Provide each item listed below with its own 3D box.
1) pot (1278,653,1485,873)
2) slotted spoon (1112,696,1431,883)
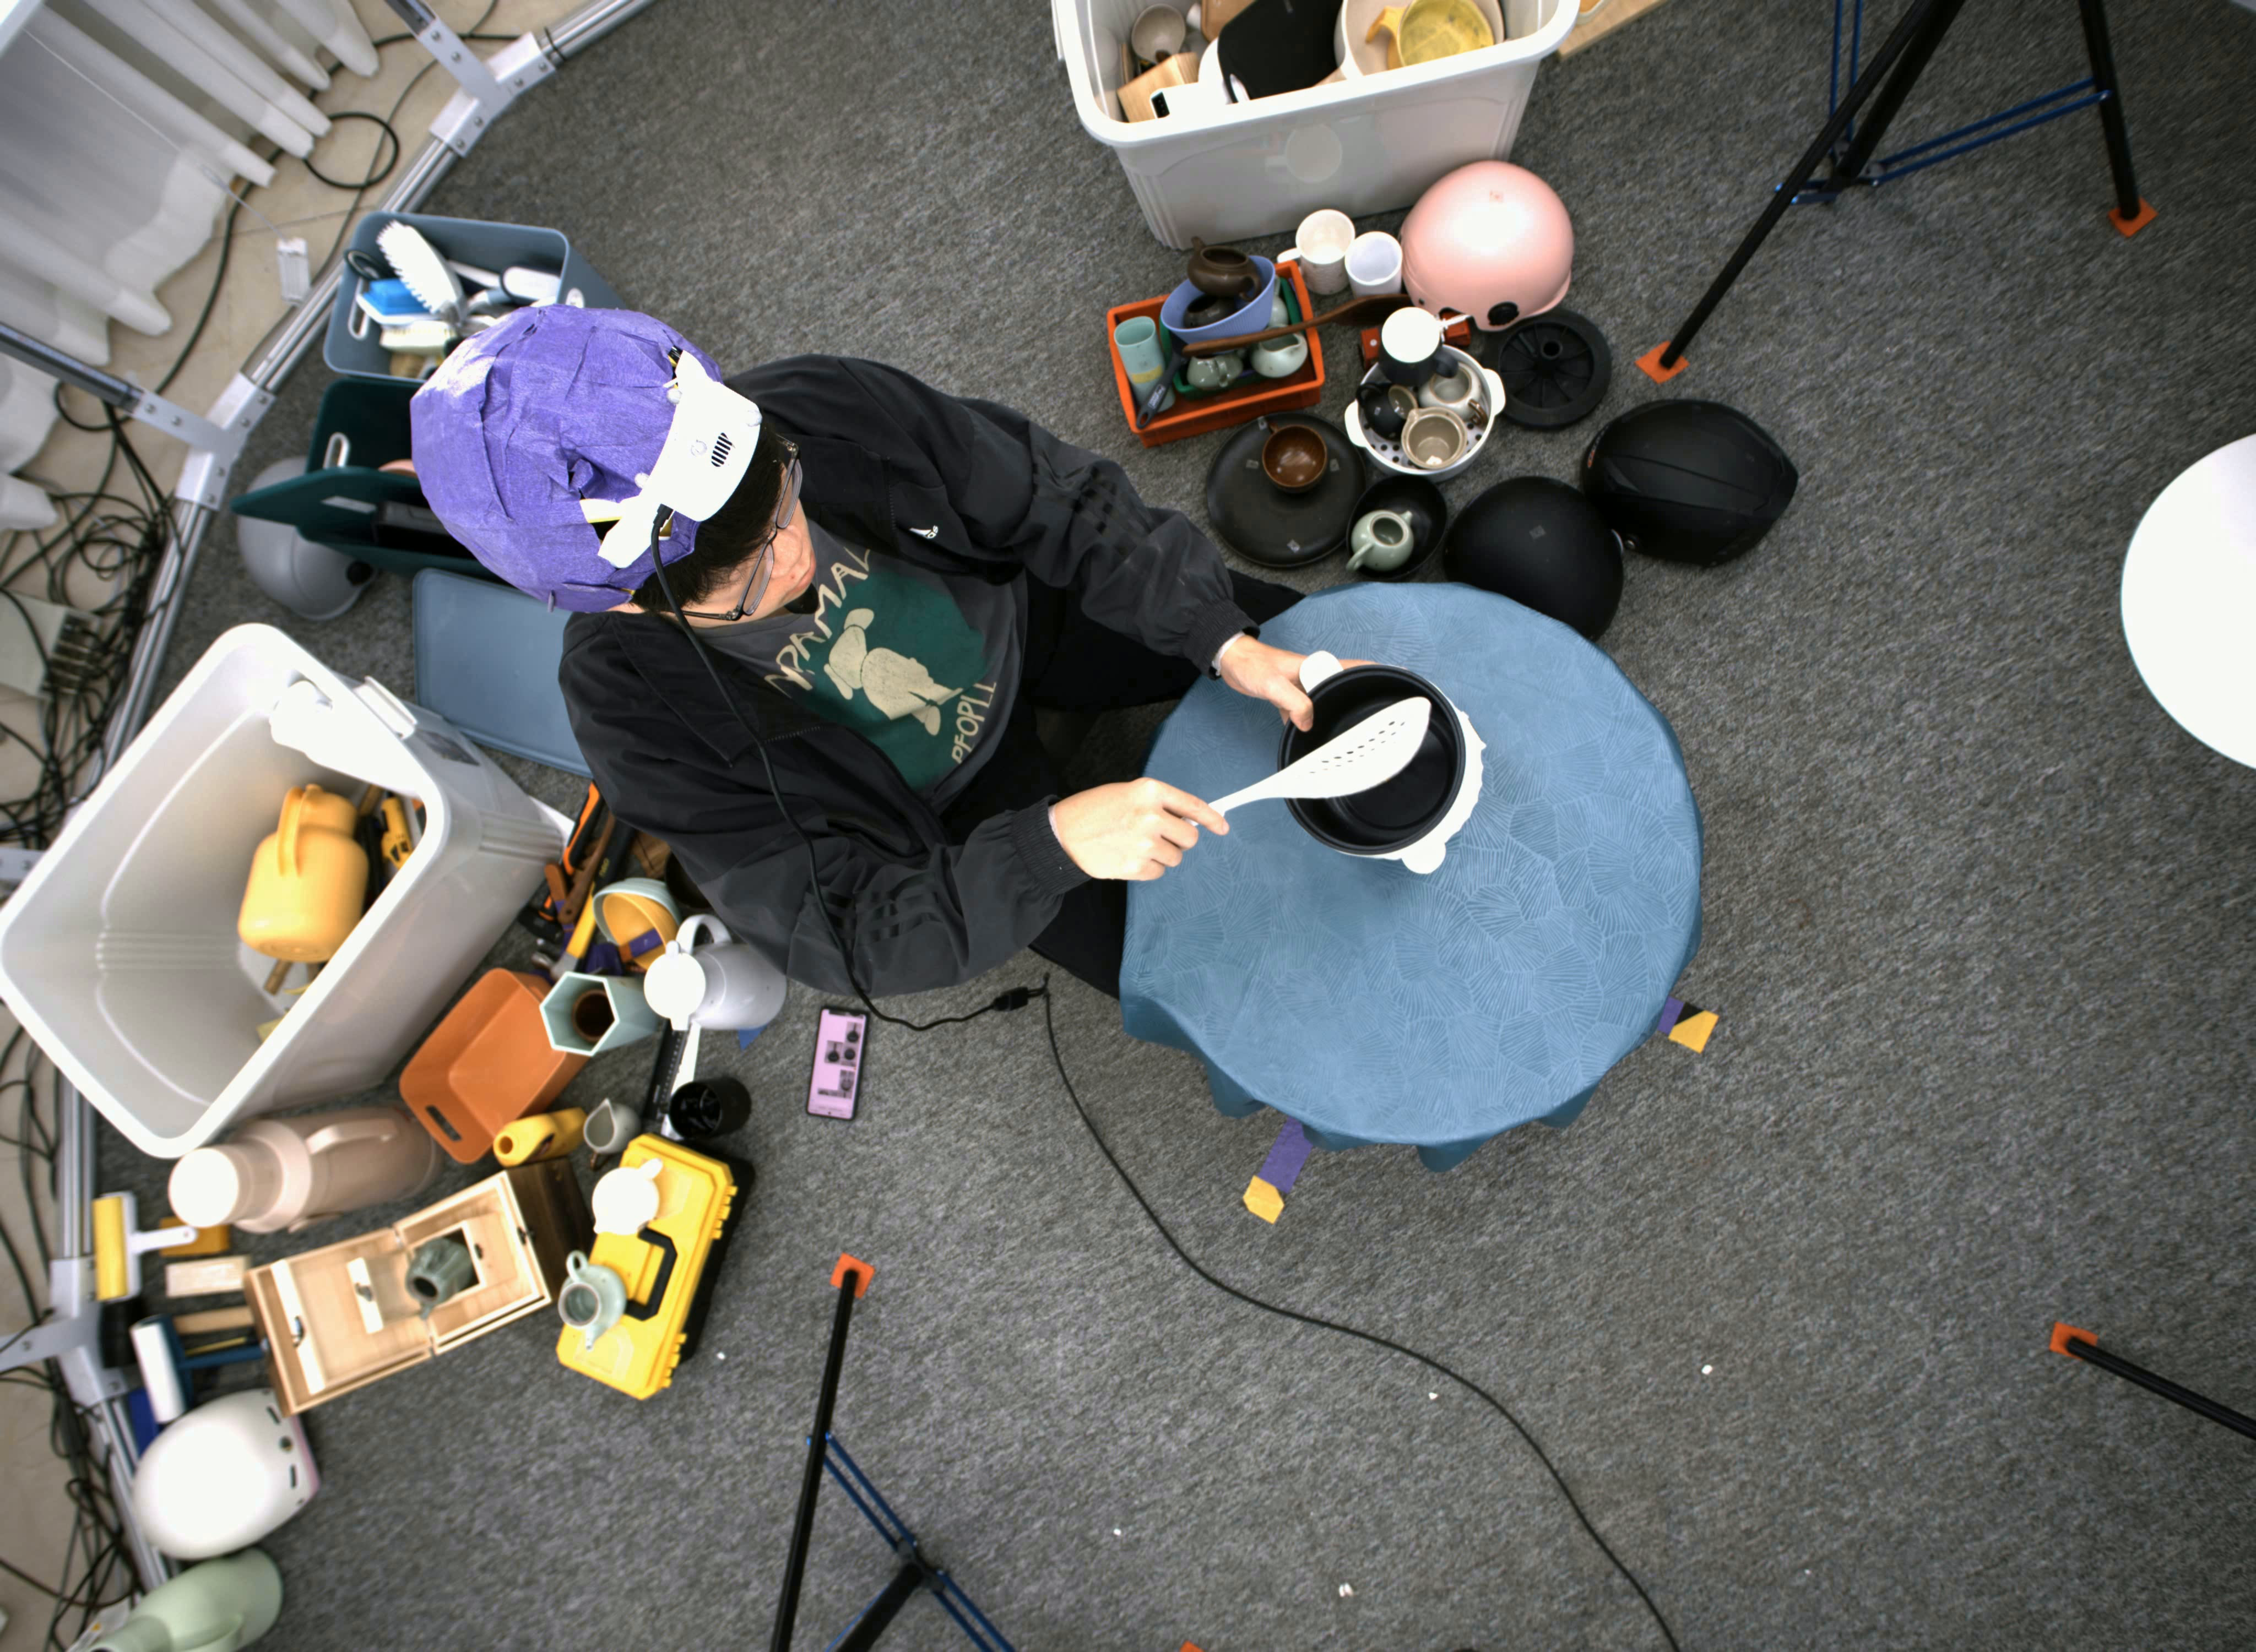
[{"bbox_3d":[0.250,-0.053,1.345,0.193,0.142,0.237,-32,73,17],"label":"pot"},{"bbox_3d":[0.132,-0.027,1.243,0.345,0.139,0.050,-20,72,-16],"label":"slotted spoon"}]
